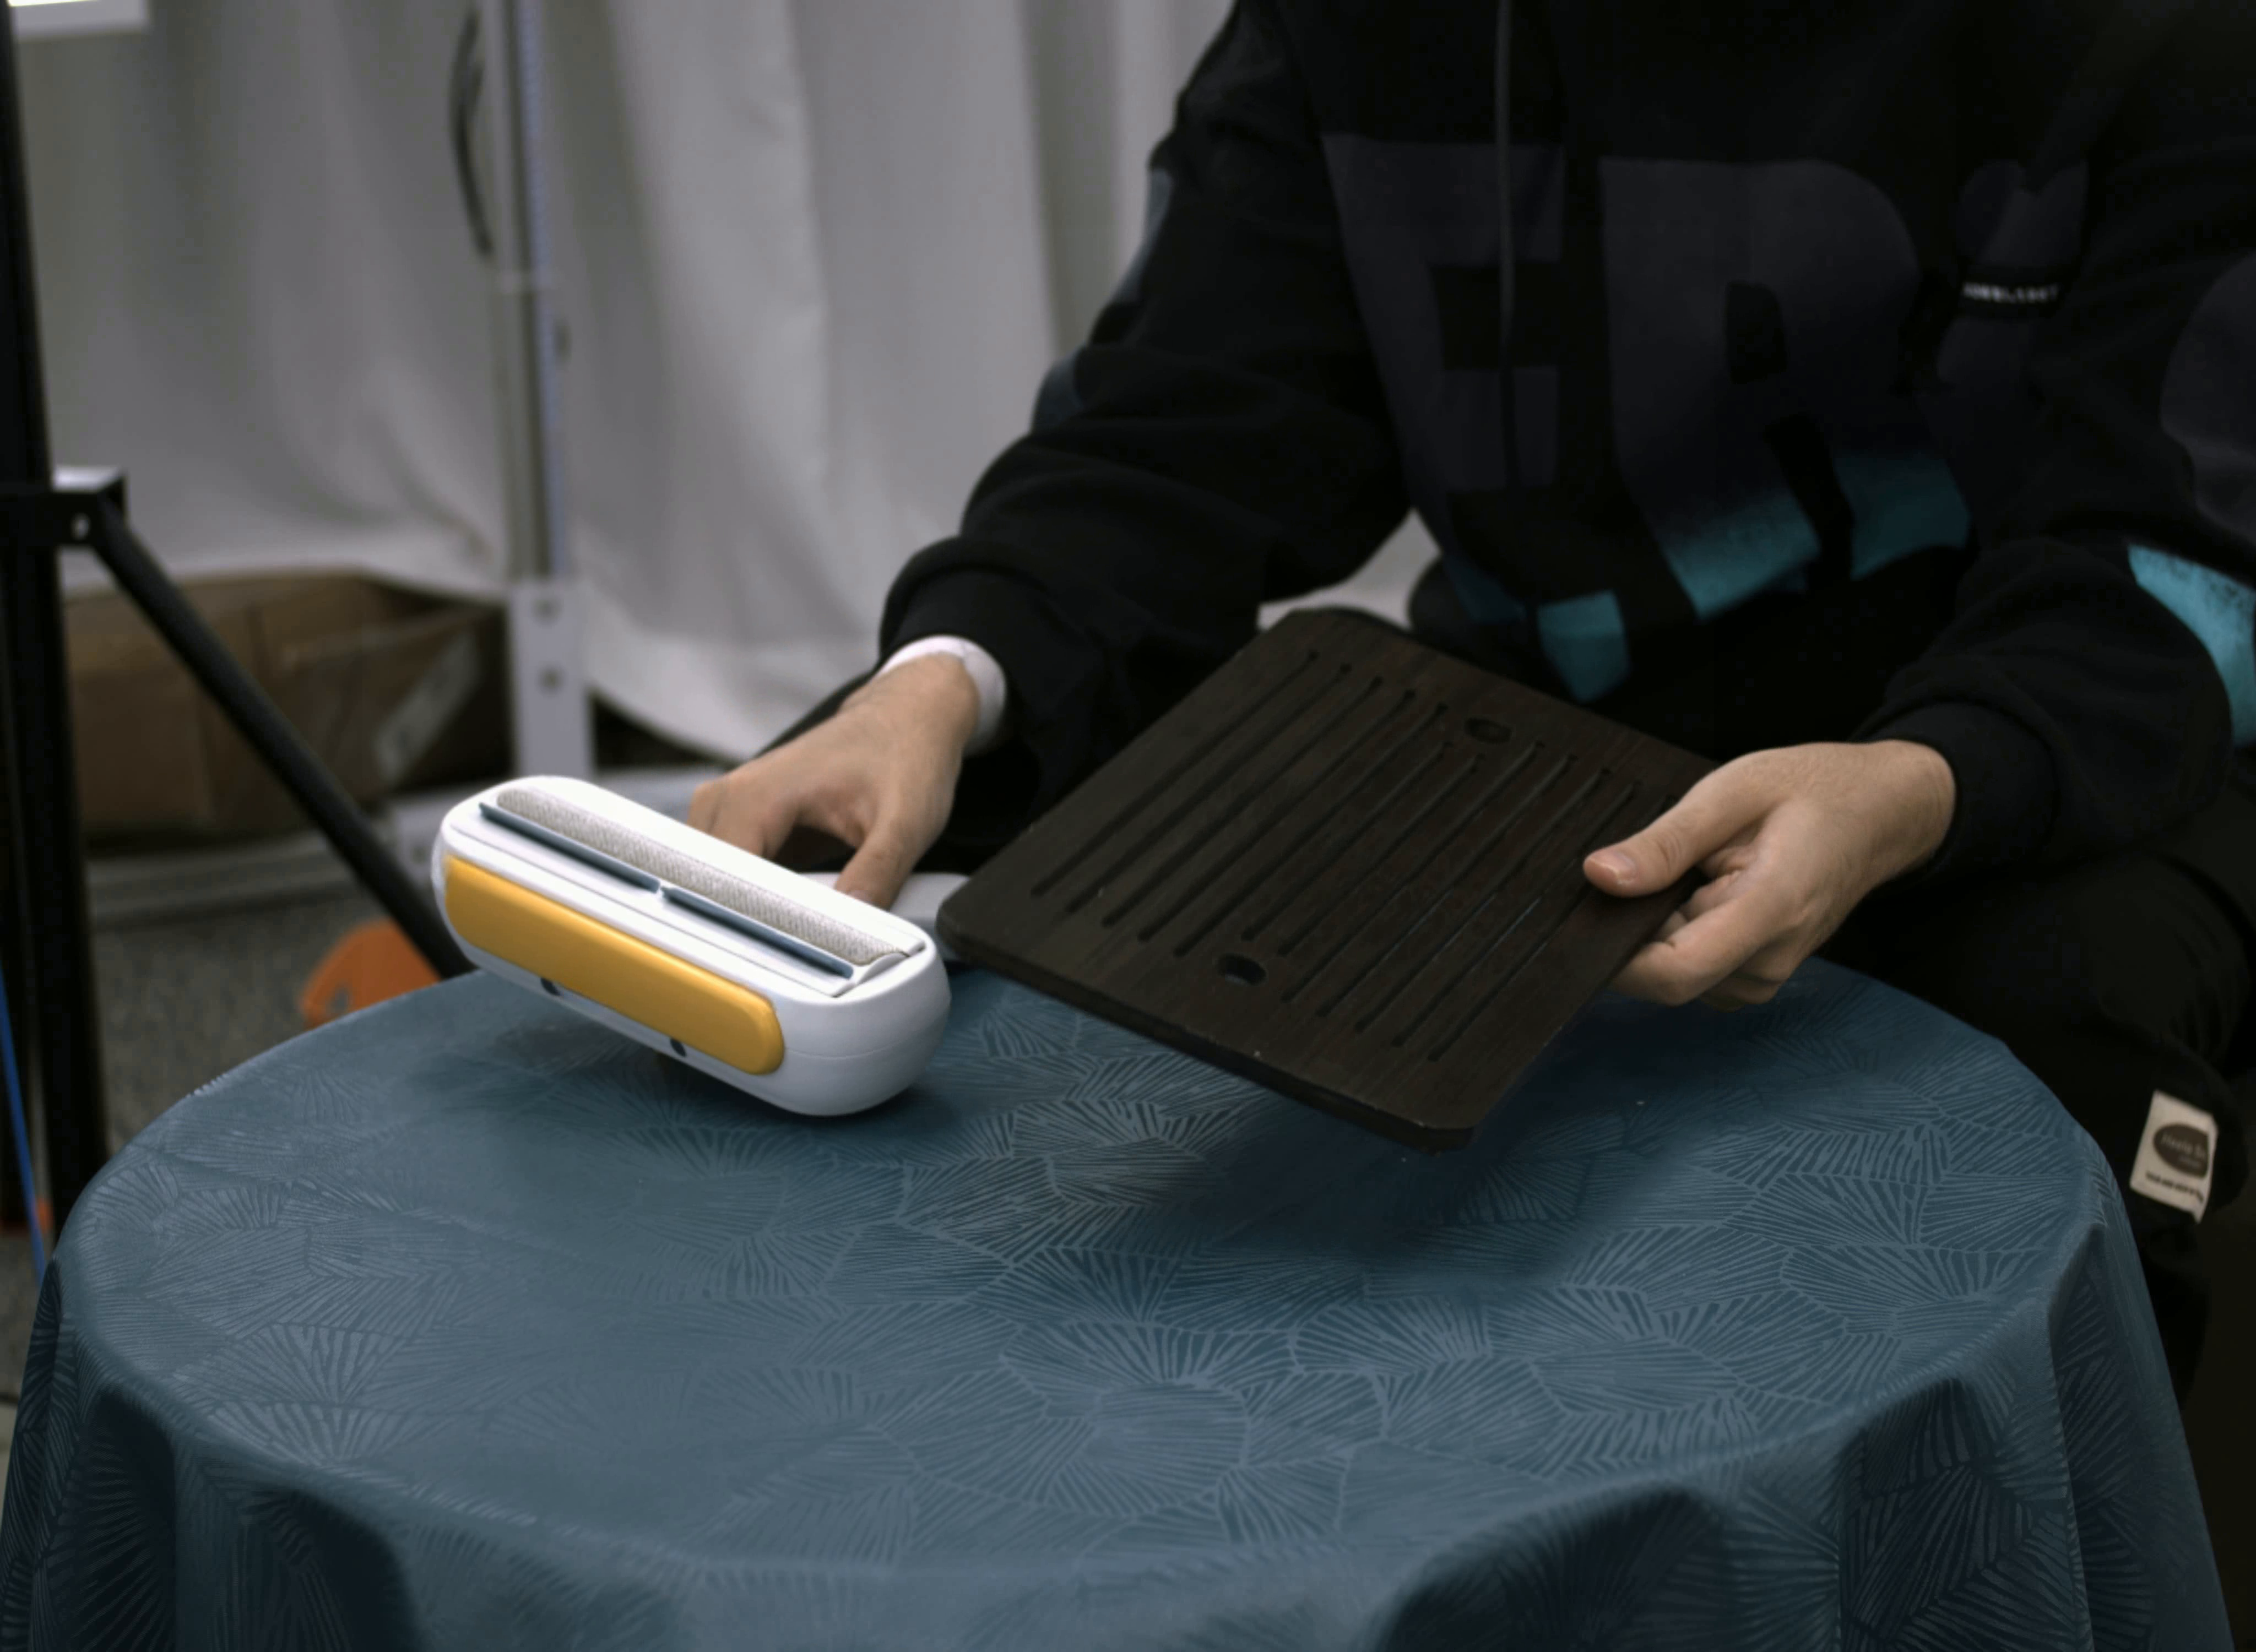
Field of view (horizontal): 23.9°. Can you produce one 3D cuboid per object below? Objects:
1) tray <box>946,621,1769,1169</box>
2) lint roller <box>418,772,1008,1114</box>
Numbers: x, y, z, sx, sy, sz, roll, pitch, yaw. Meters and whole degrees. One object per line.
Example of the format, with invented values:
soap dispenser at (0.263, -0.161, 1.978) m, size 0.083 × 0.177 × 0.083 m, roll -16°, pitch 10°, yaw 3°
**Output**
tray at (0.076, 0.017, 1.616) m, size 0.172 × 0.018 × 0.302 m, roll 21°, pitch 27°, yaw 16°
lint roller at (-0.106, 0.030, 1.727) m, size 0.197 × 0.074 × 0.188 m, roll 19°, pitch 25°, yaw 41°
